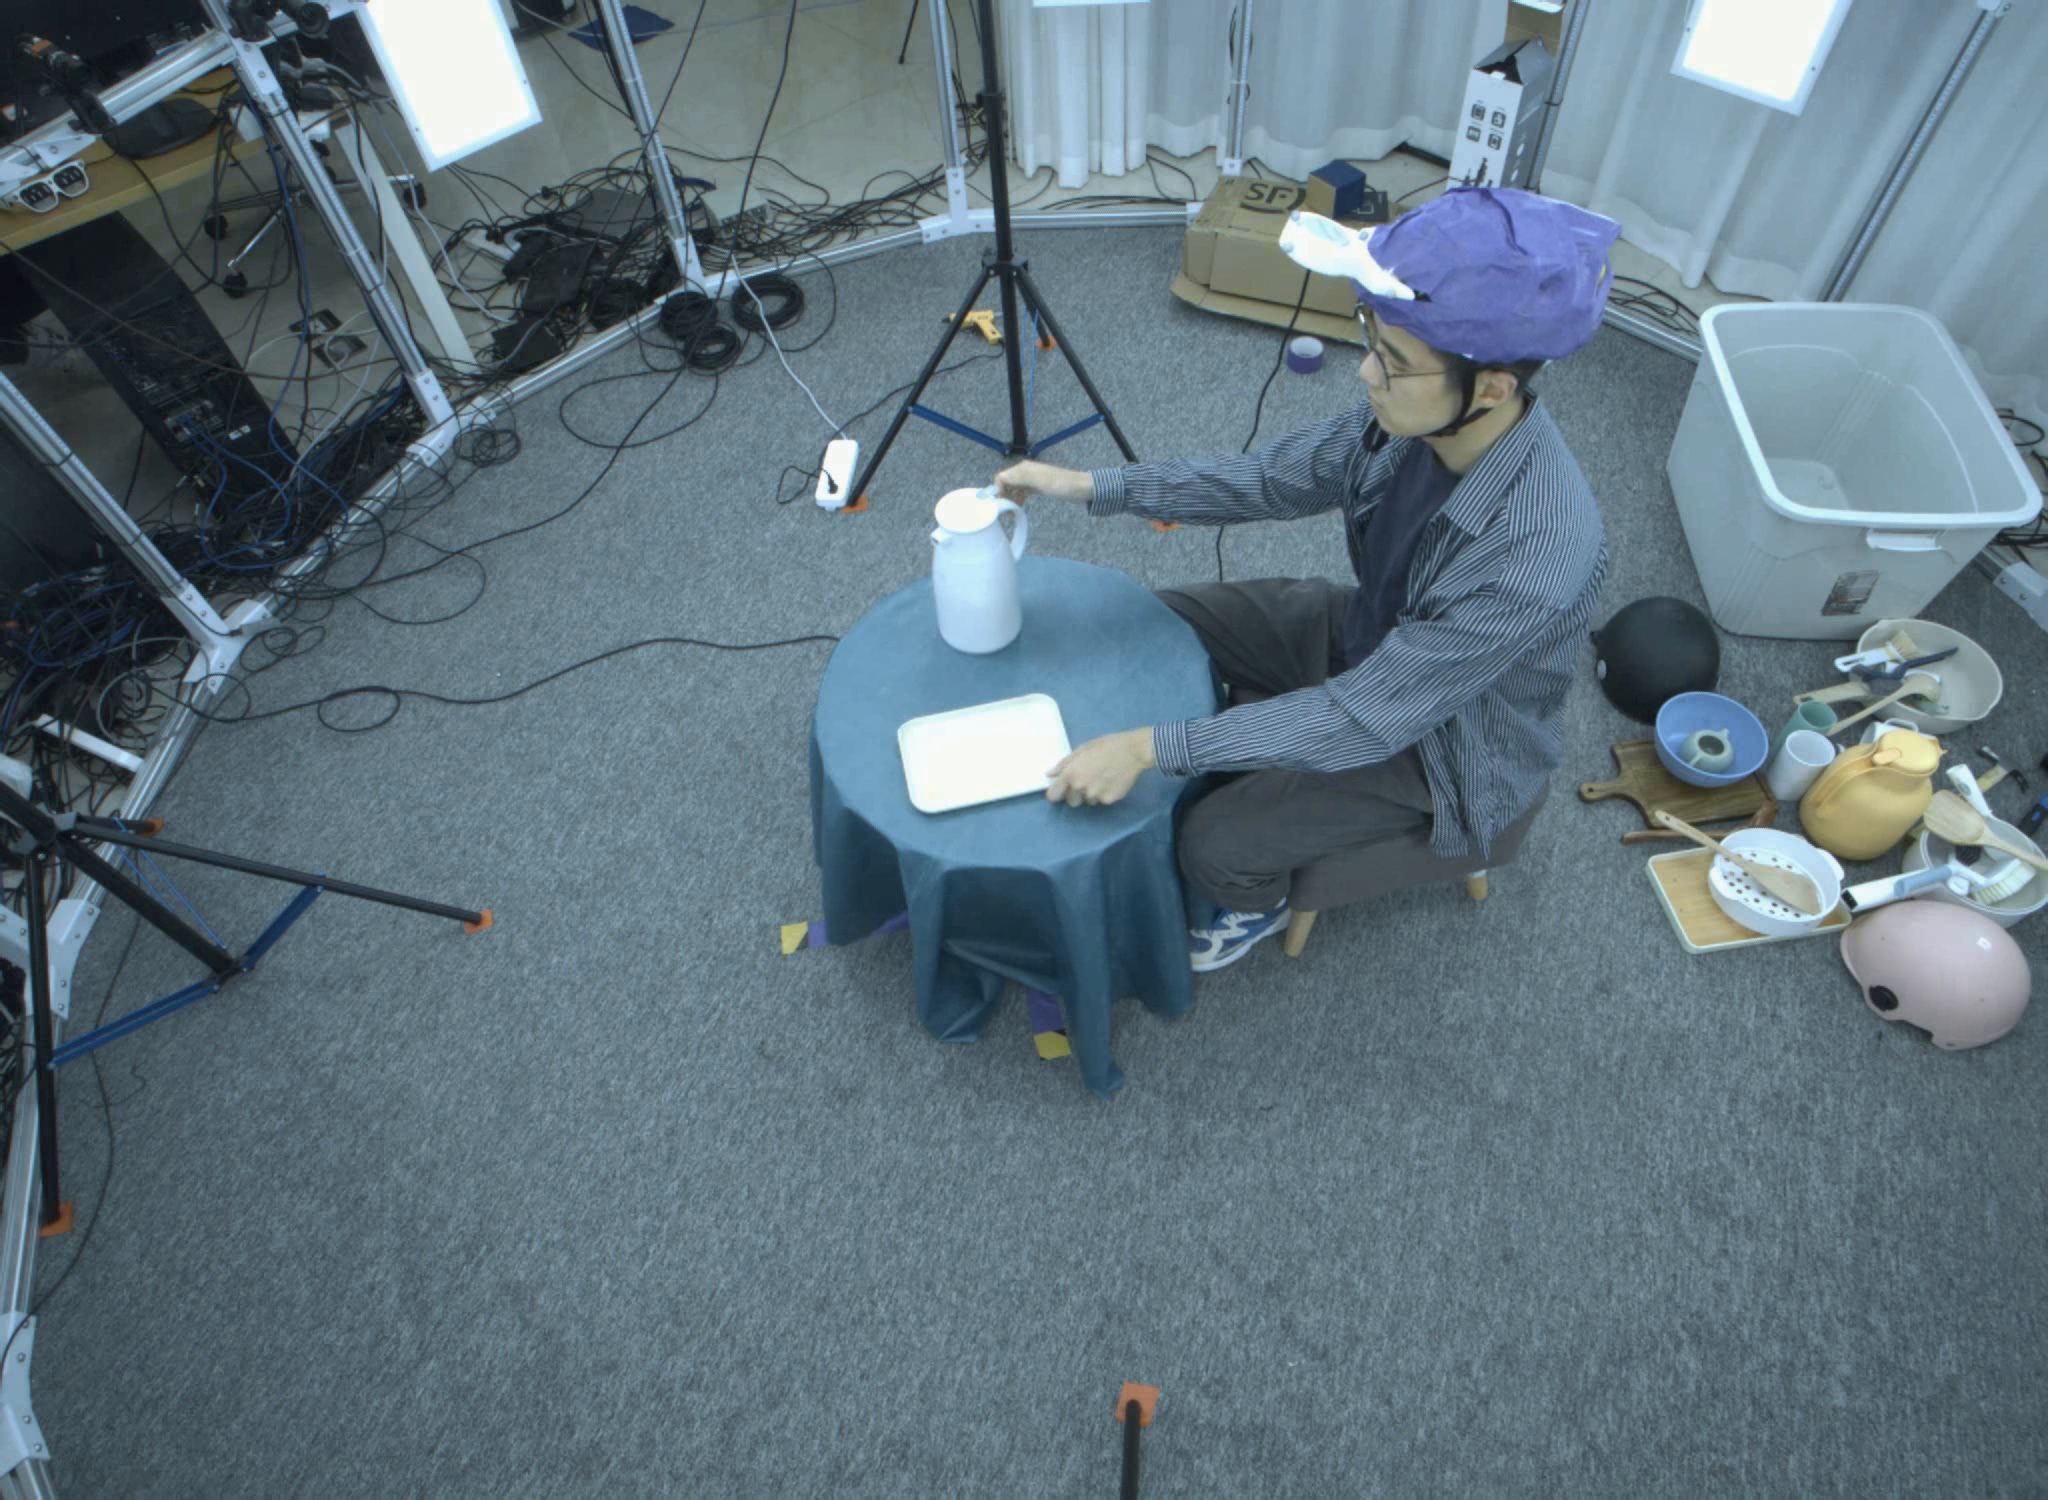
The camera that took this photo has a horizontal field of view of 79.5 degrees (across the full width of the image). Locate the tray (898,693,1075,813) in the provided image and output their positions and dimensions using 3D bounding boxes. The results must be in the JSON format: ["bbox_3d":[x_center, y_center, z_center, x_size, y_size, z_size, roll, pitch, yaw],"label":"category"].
[{"bbox_3d":[-0.056,0.005,1.780,0.241,0.017,0.168,-12,56,-7],"label":"tray"}]

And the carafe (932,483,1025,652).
[{"bbox_3d":[-0.063,-0.288,1.843,0.130,0.251,0.169,35,63,25],"label":"carafe"}]
